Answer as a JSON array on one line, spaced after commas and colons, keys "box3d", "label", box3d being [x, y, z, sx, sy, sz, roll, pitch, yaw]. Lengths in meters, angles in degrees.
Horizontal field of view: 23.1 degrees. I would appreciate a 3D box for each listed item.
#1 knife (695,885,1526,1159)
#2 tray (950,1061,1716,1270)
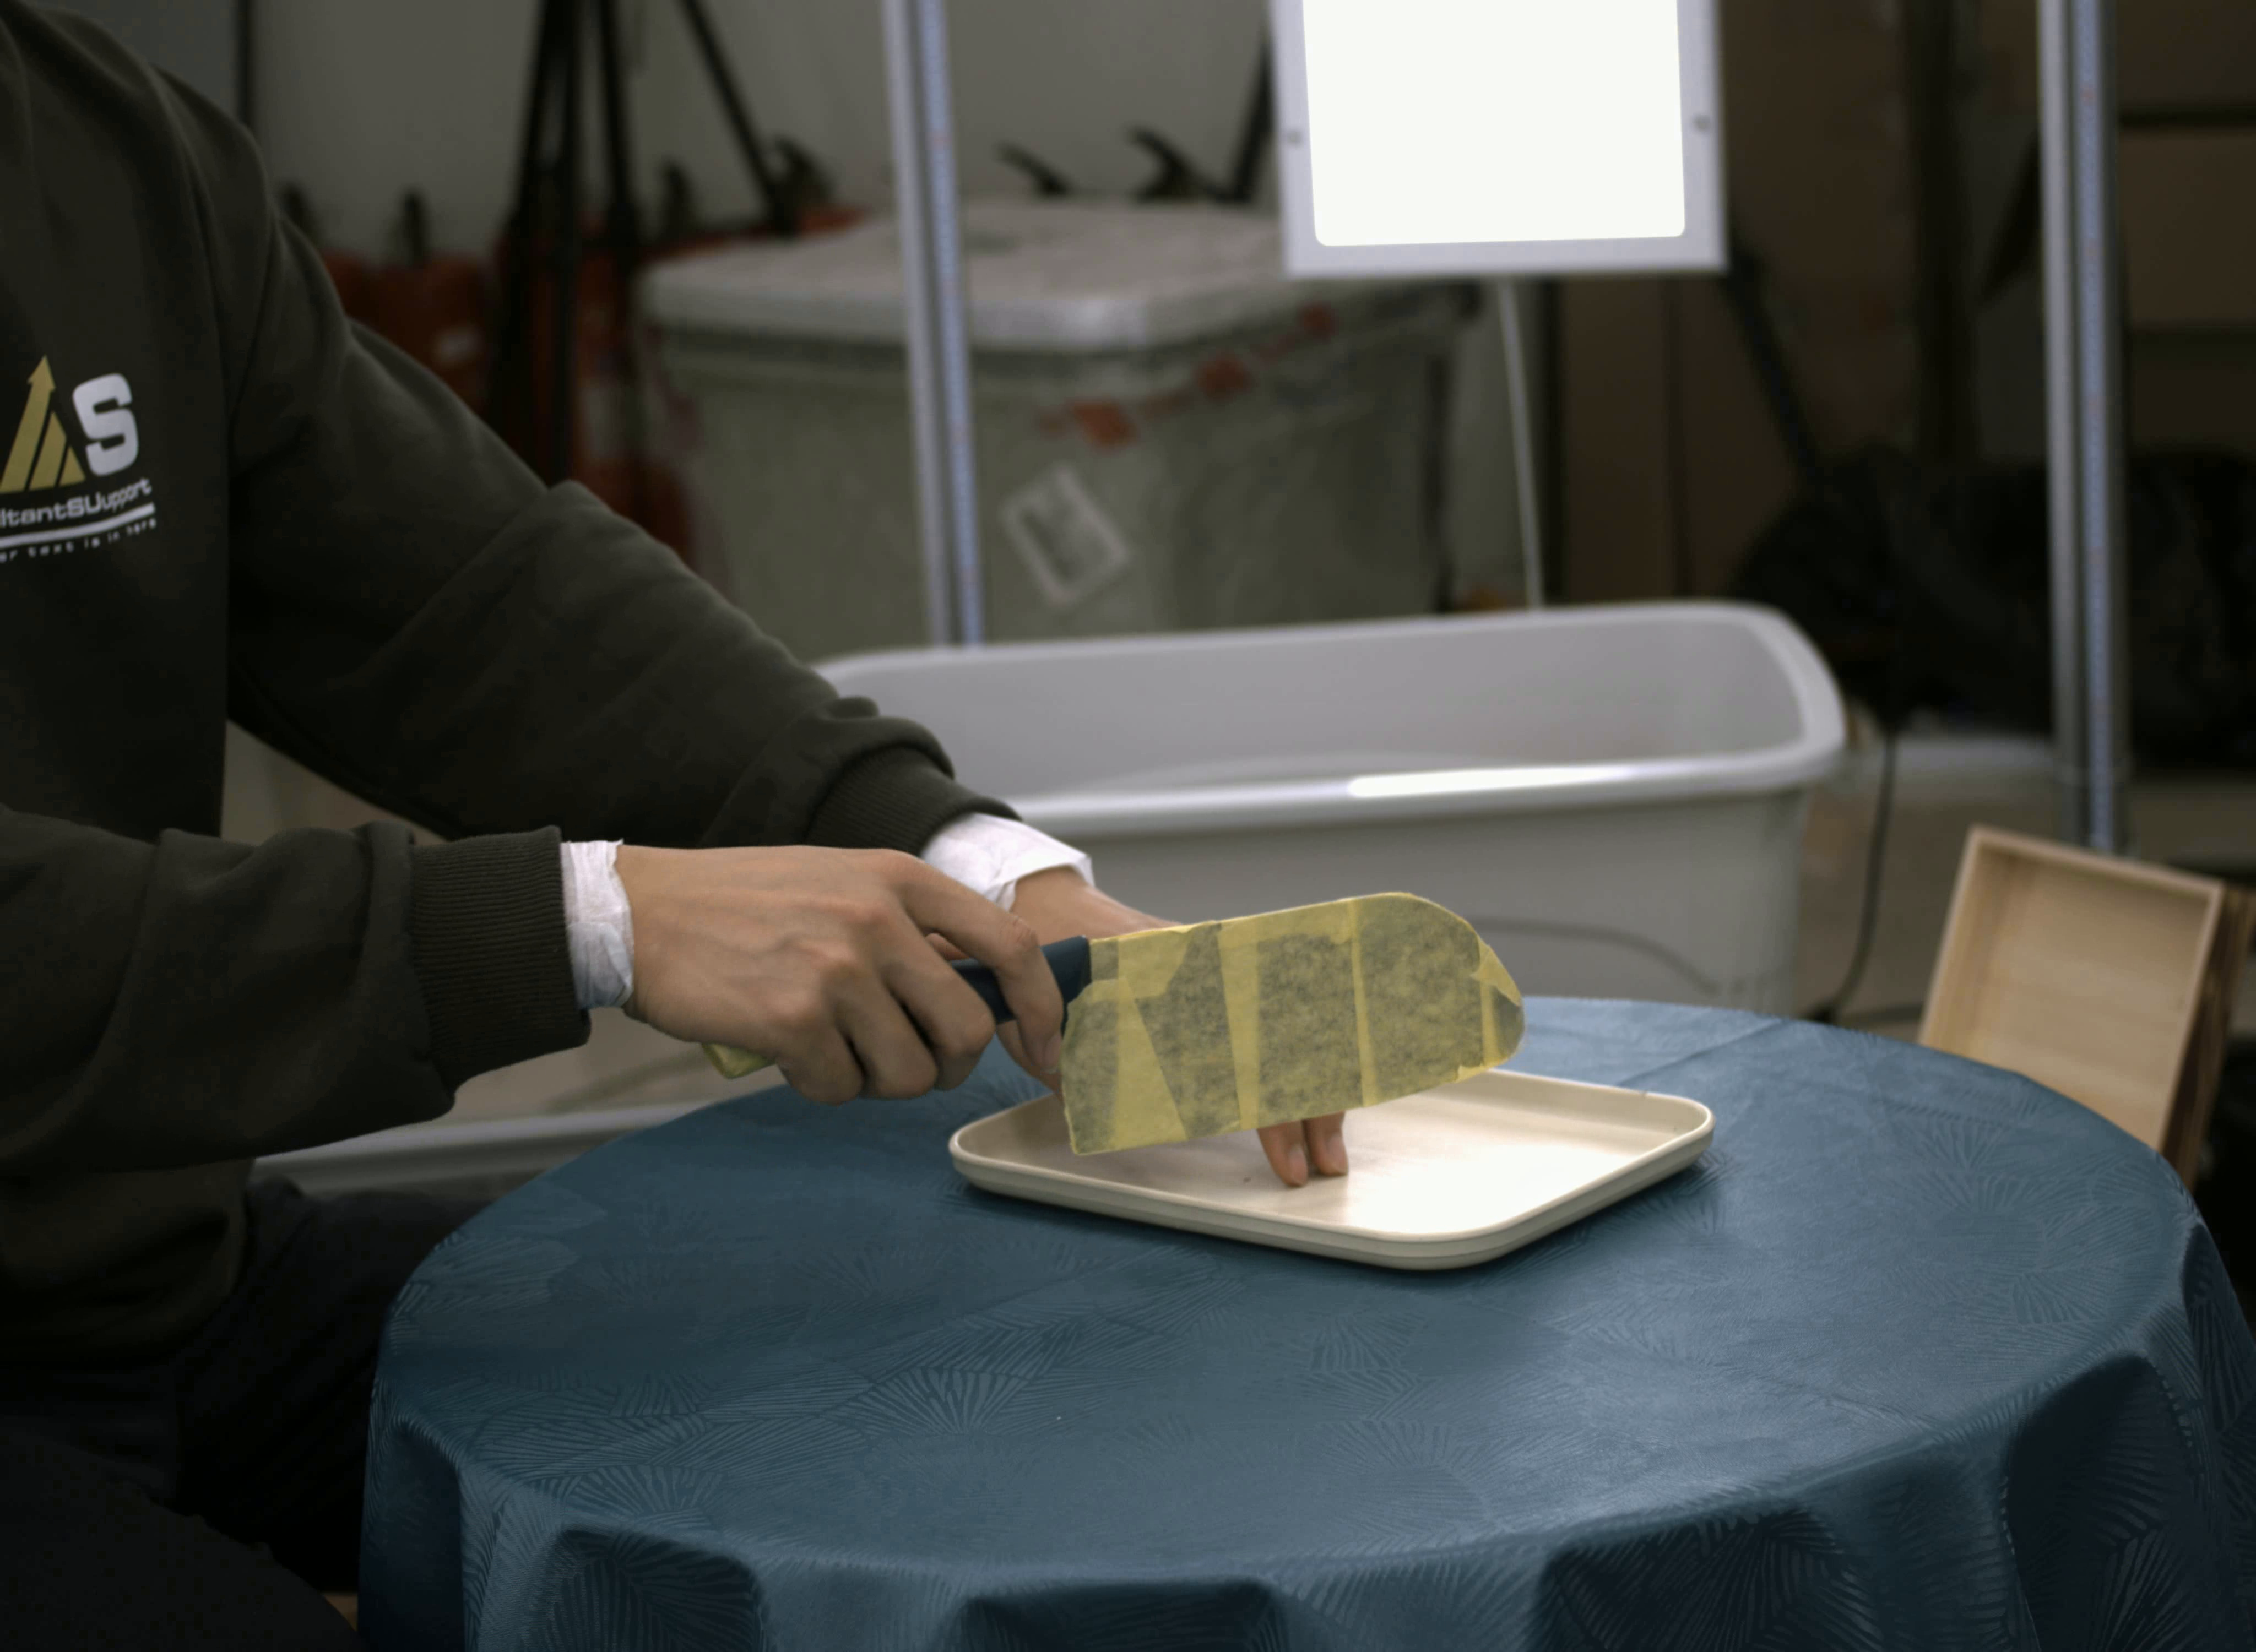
[{"box3d": [-0.002, 0.069, 1.829, 0.285, 0.081, 0.027, -6, 8, -13], "label": "knife"}, {"box3d": [0.070, 0.112, 1.900, 0.245, 0.017, 0.167, 7, 18, 41], "label": "tray"}]
